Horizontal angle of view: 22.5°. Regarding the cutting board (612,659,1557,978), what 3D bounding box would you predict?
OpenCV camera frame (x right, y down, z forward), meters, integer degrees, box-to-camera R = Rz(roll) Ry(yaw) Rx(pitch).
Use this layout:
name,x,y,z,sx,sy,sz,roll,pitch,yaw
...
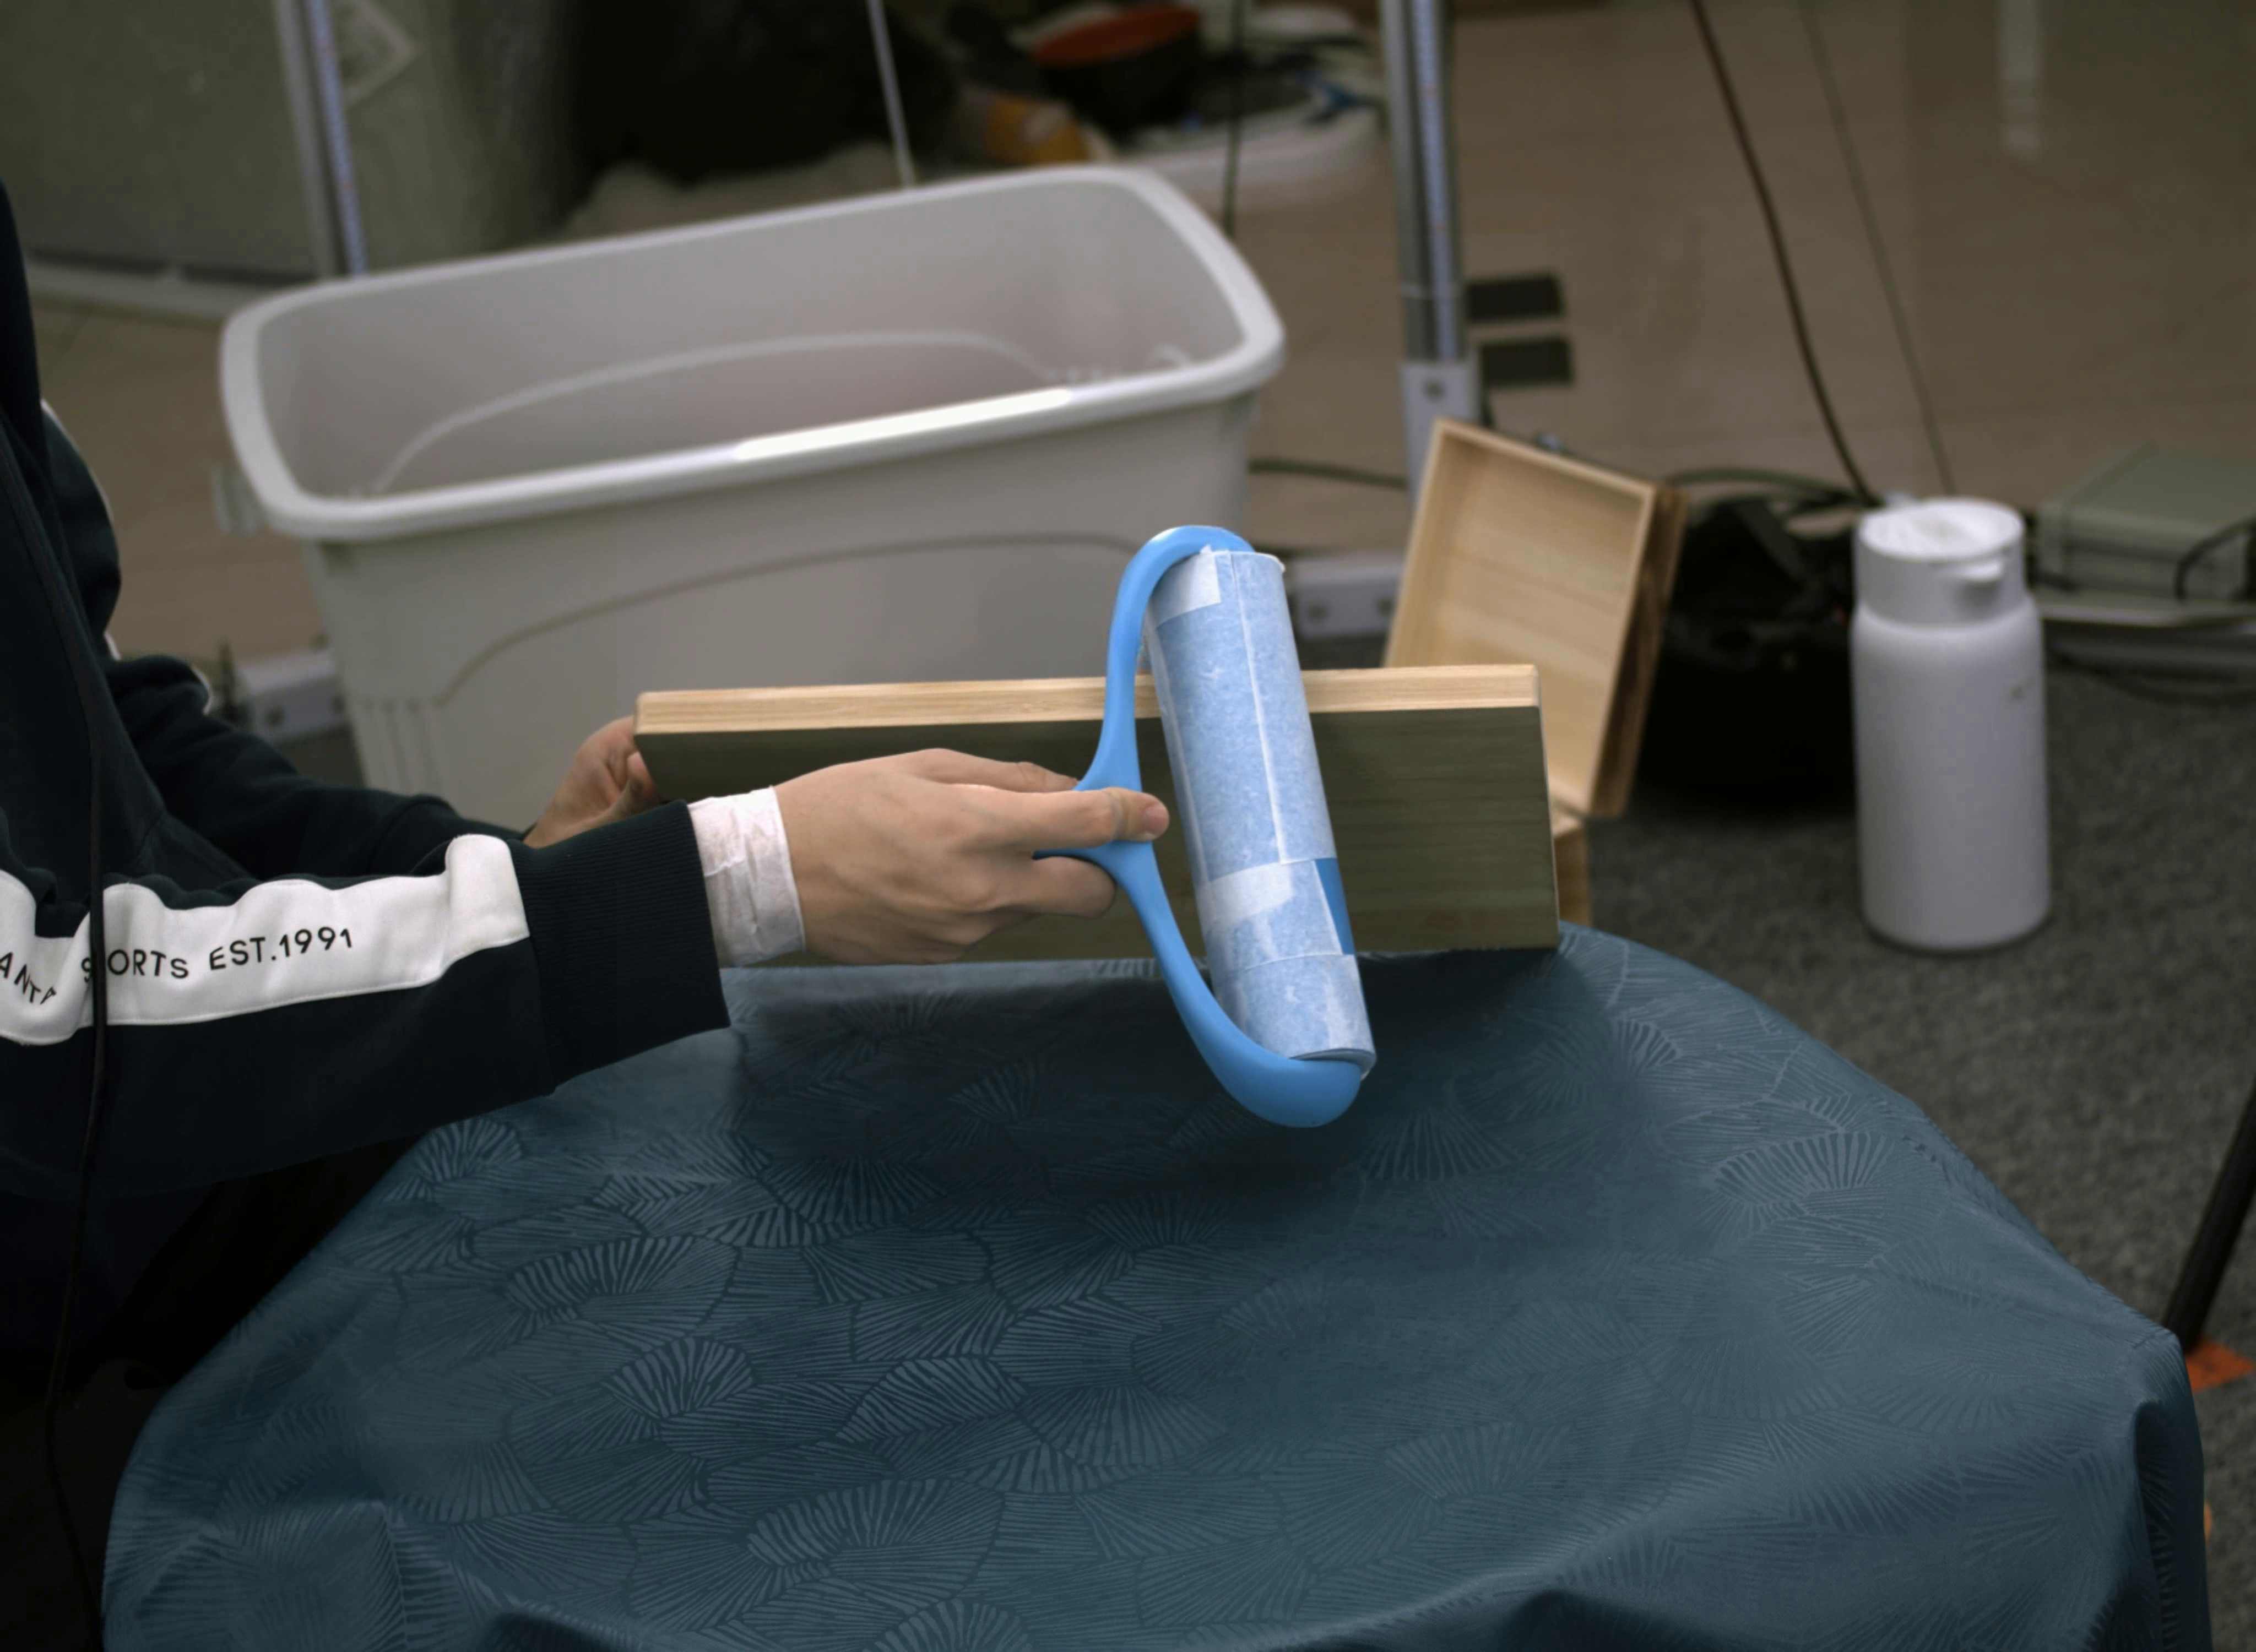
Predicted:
name,x,y,z,sx,sy,sz,roll,pitch,yaw
cutting board,-0.009,0.000,2.205,0.348,0.254,0.023,-1,67,5

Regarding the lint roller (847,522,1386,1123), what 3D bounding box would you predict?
name,x,y,z,sx,sy,sz,roll,pitch,yaw
lint roller,-0.010,0.008,2.036,0.180,0.227,0.068,-11,-14,-10
